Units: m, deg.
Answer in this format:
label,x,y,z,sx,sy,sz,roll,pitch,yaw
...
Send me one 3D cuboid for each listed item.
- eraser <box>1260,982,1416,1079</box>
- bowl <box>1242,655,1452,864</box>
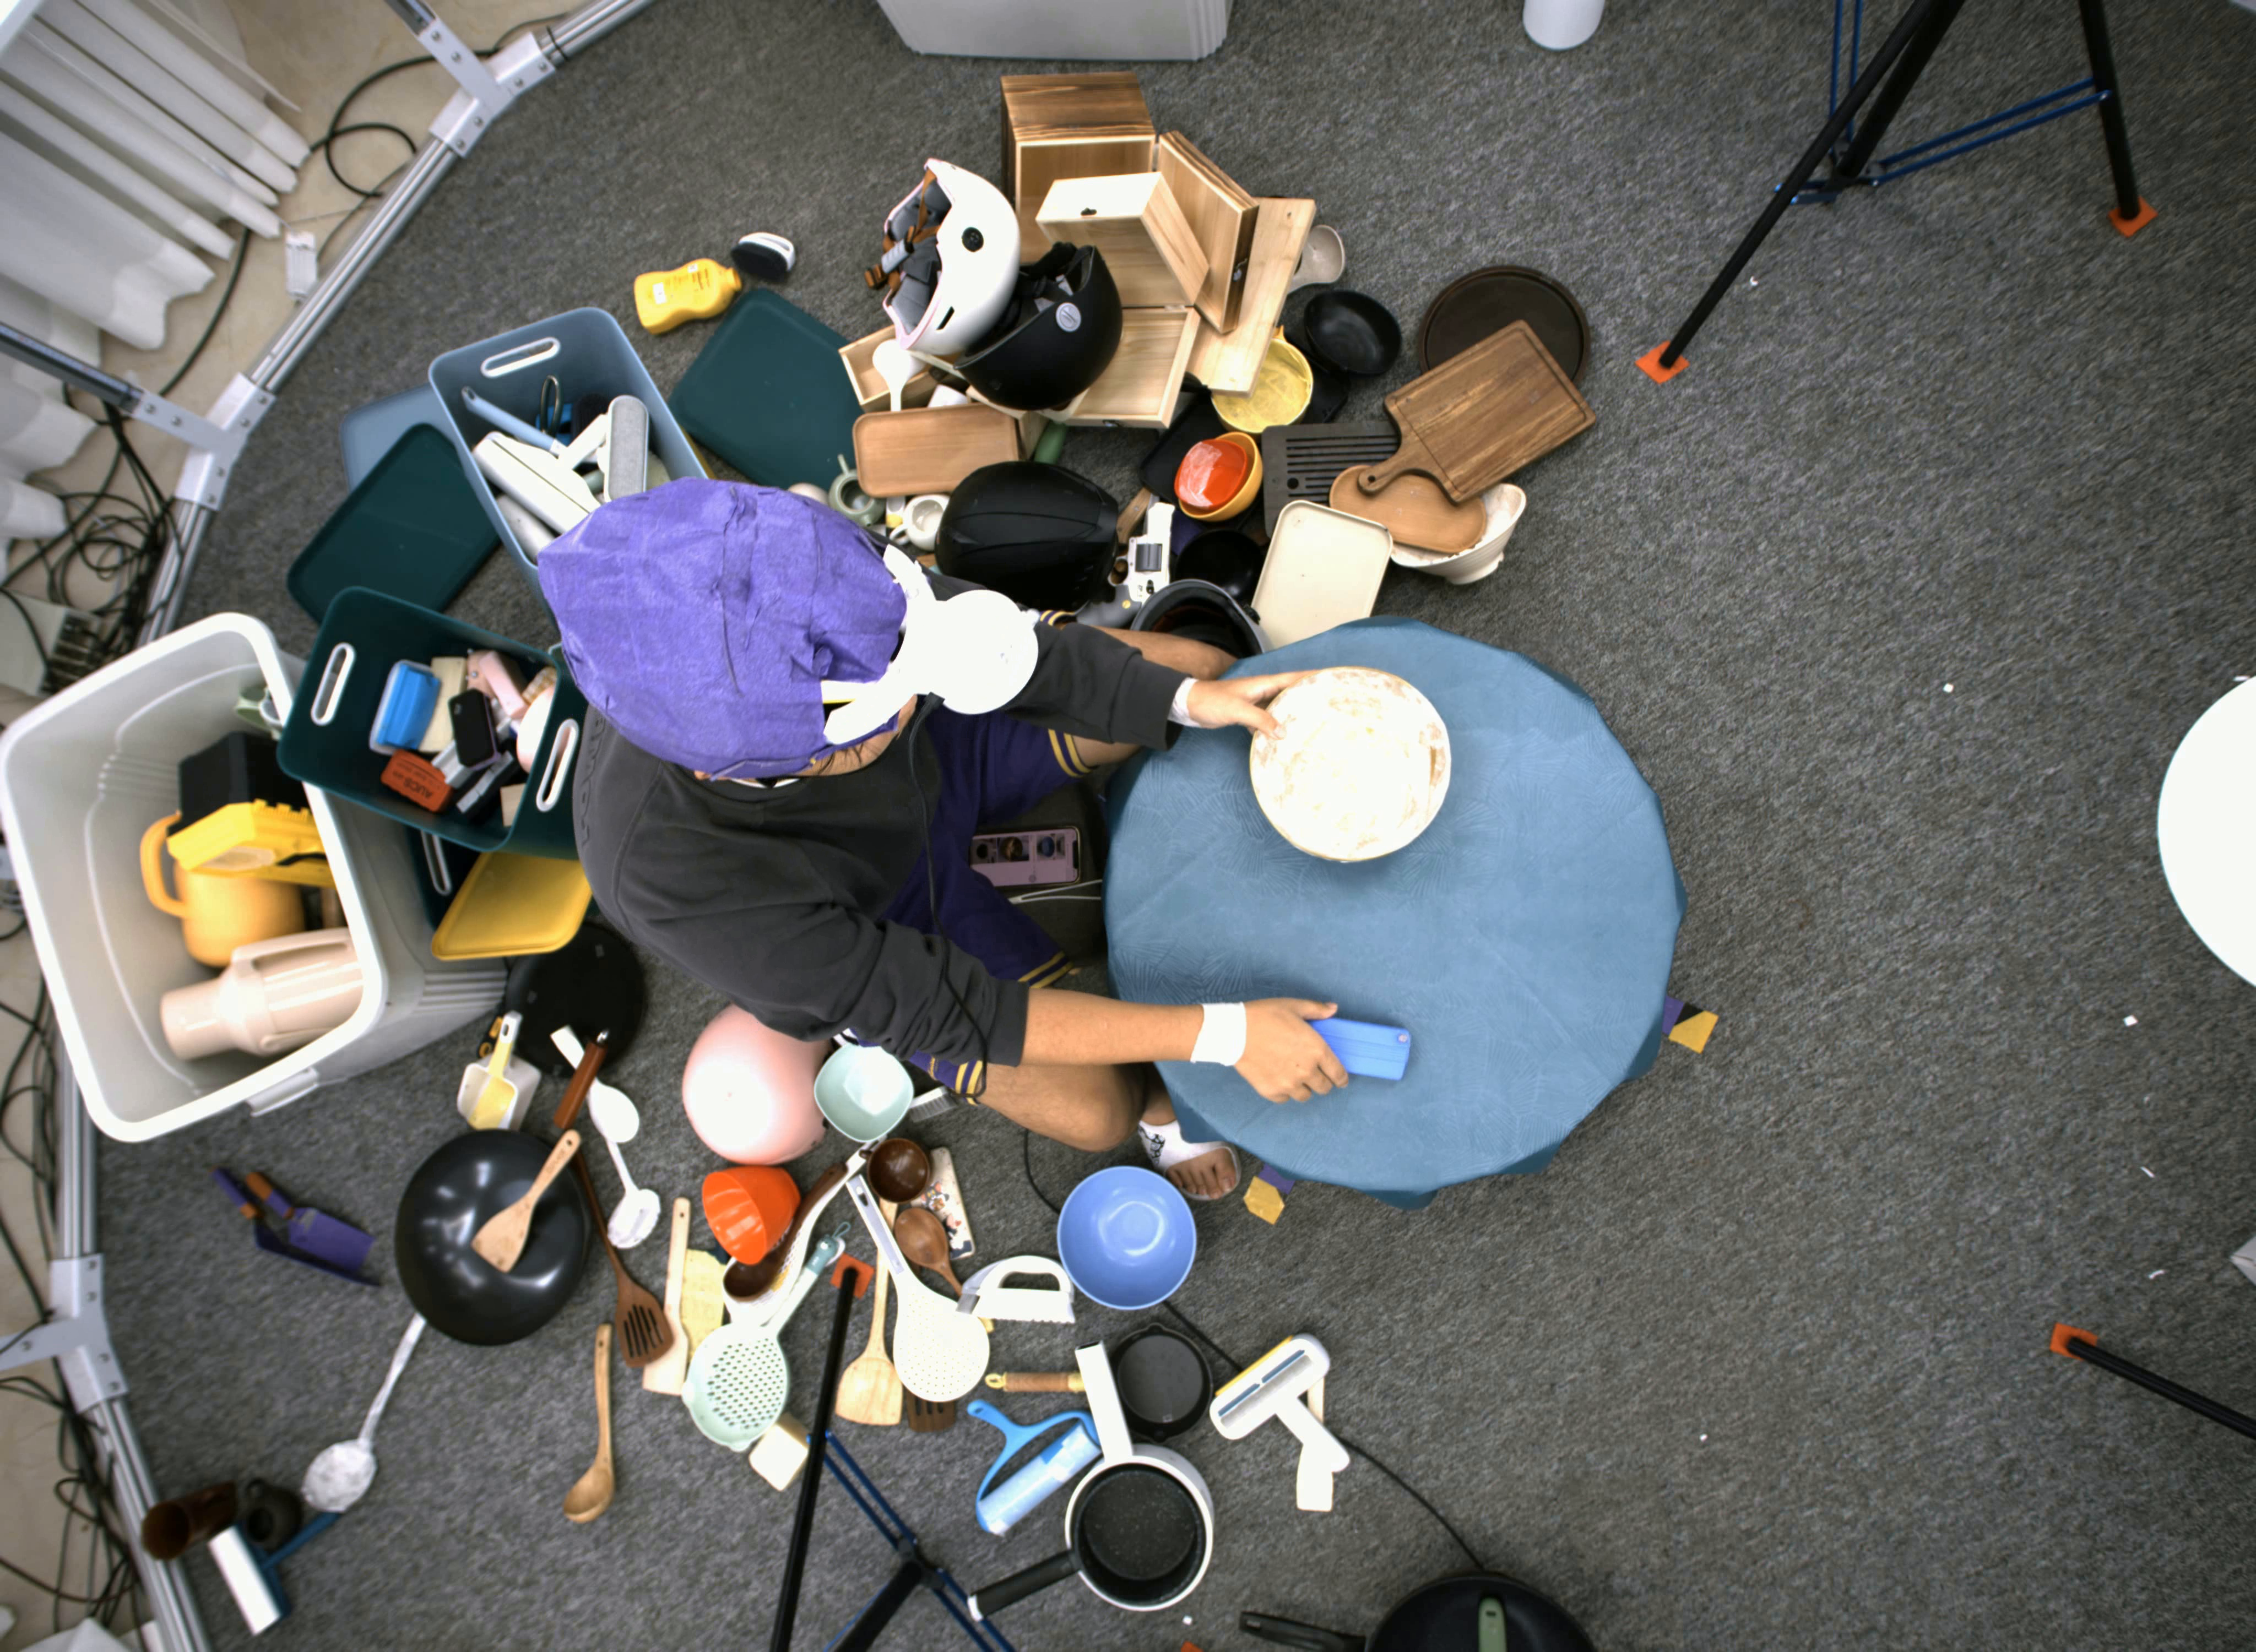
label,x,y,z,sx,sy,sz,roll,pitch,yaw
eraser,0.217,0.212,1.436,0.162,0.047,0.054,19,95,9
bowl,0.226,-0.064,1.426,0.215,0.094,0.214,-1,88,10
